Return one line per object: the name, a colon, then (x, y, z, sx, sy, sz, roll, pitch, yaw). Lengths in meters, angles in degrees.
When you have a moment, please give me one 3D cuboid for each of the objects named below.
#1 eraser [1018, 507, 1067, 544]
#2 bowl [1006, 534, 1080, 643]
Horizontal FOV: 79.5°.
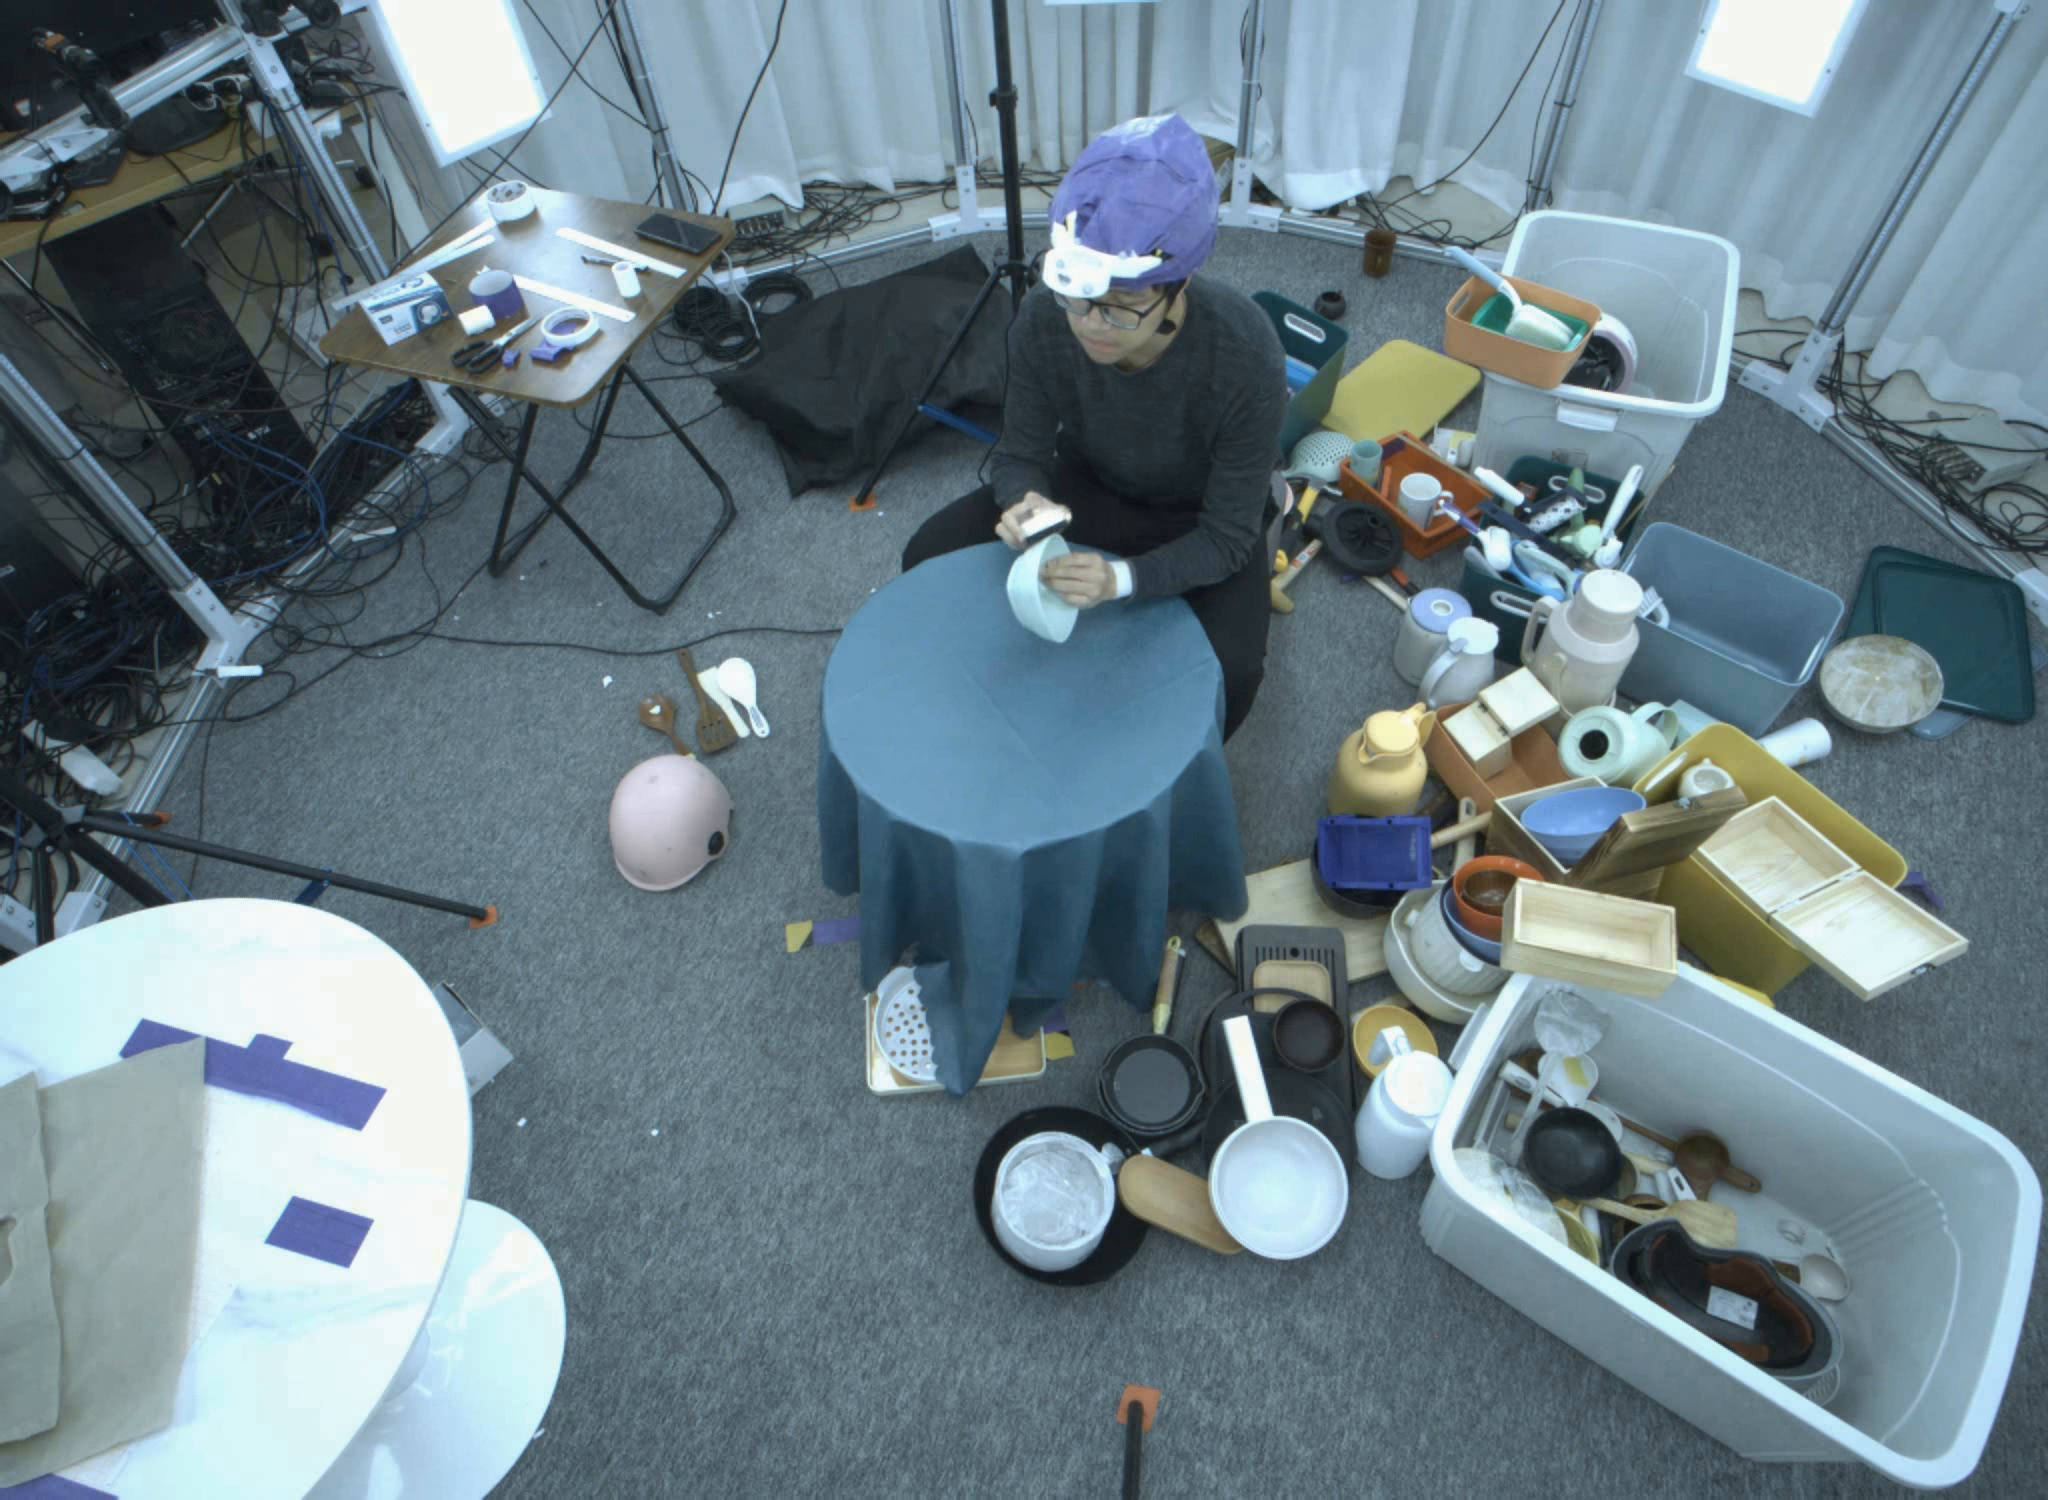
eraser: (0.026, -0.317, 1.736, 0.063, 0.130, 0.035, -23, 100, 0)
bowl: (0.022, -0.224, 1.716, 0.058, 0.154, 0.151, 1, 53, 26)
